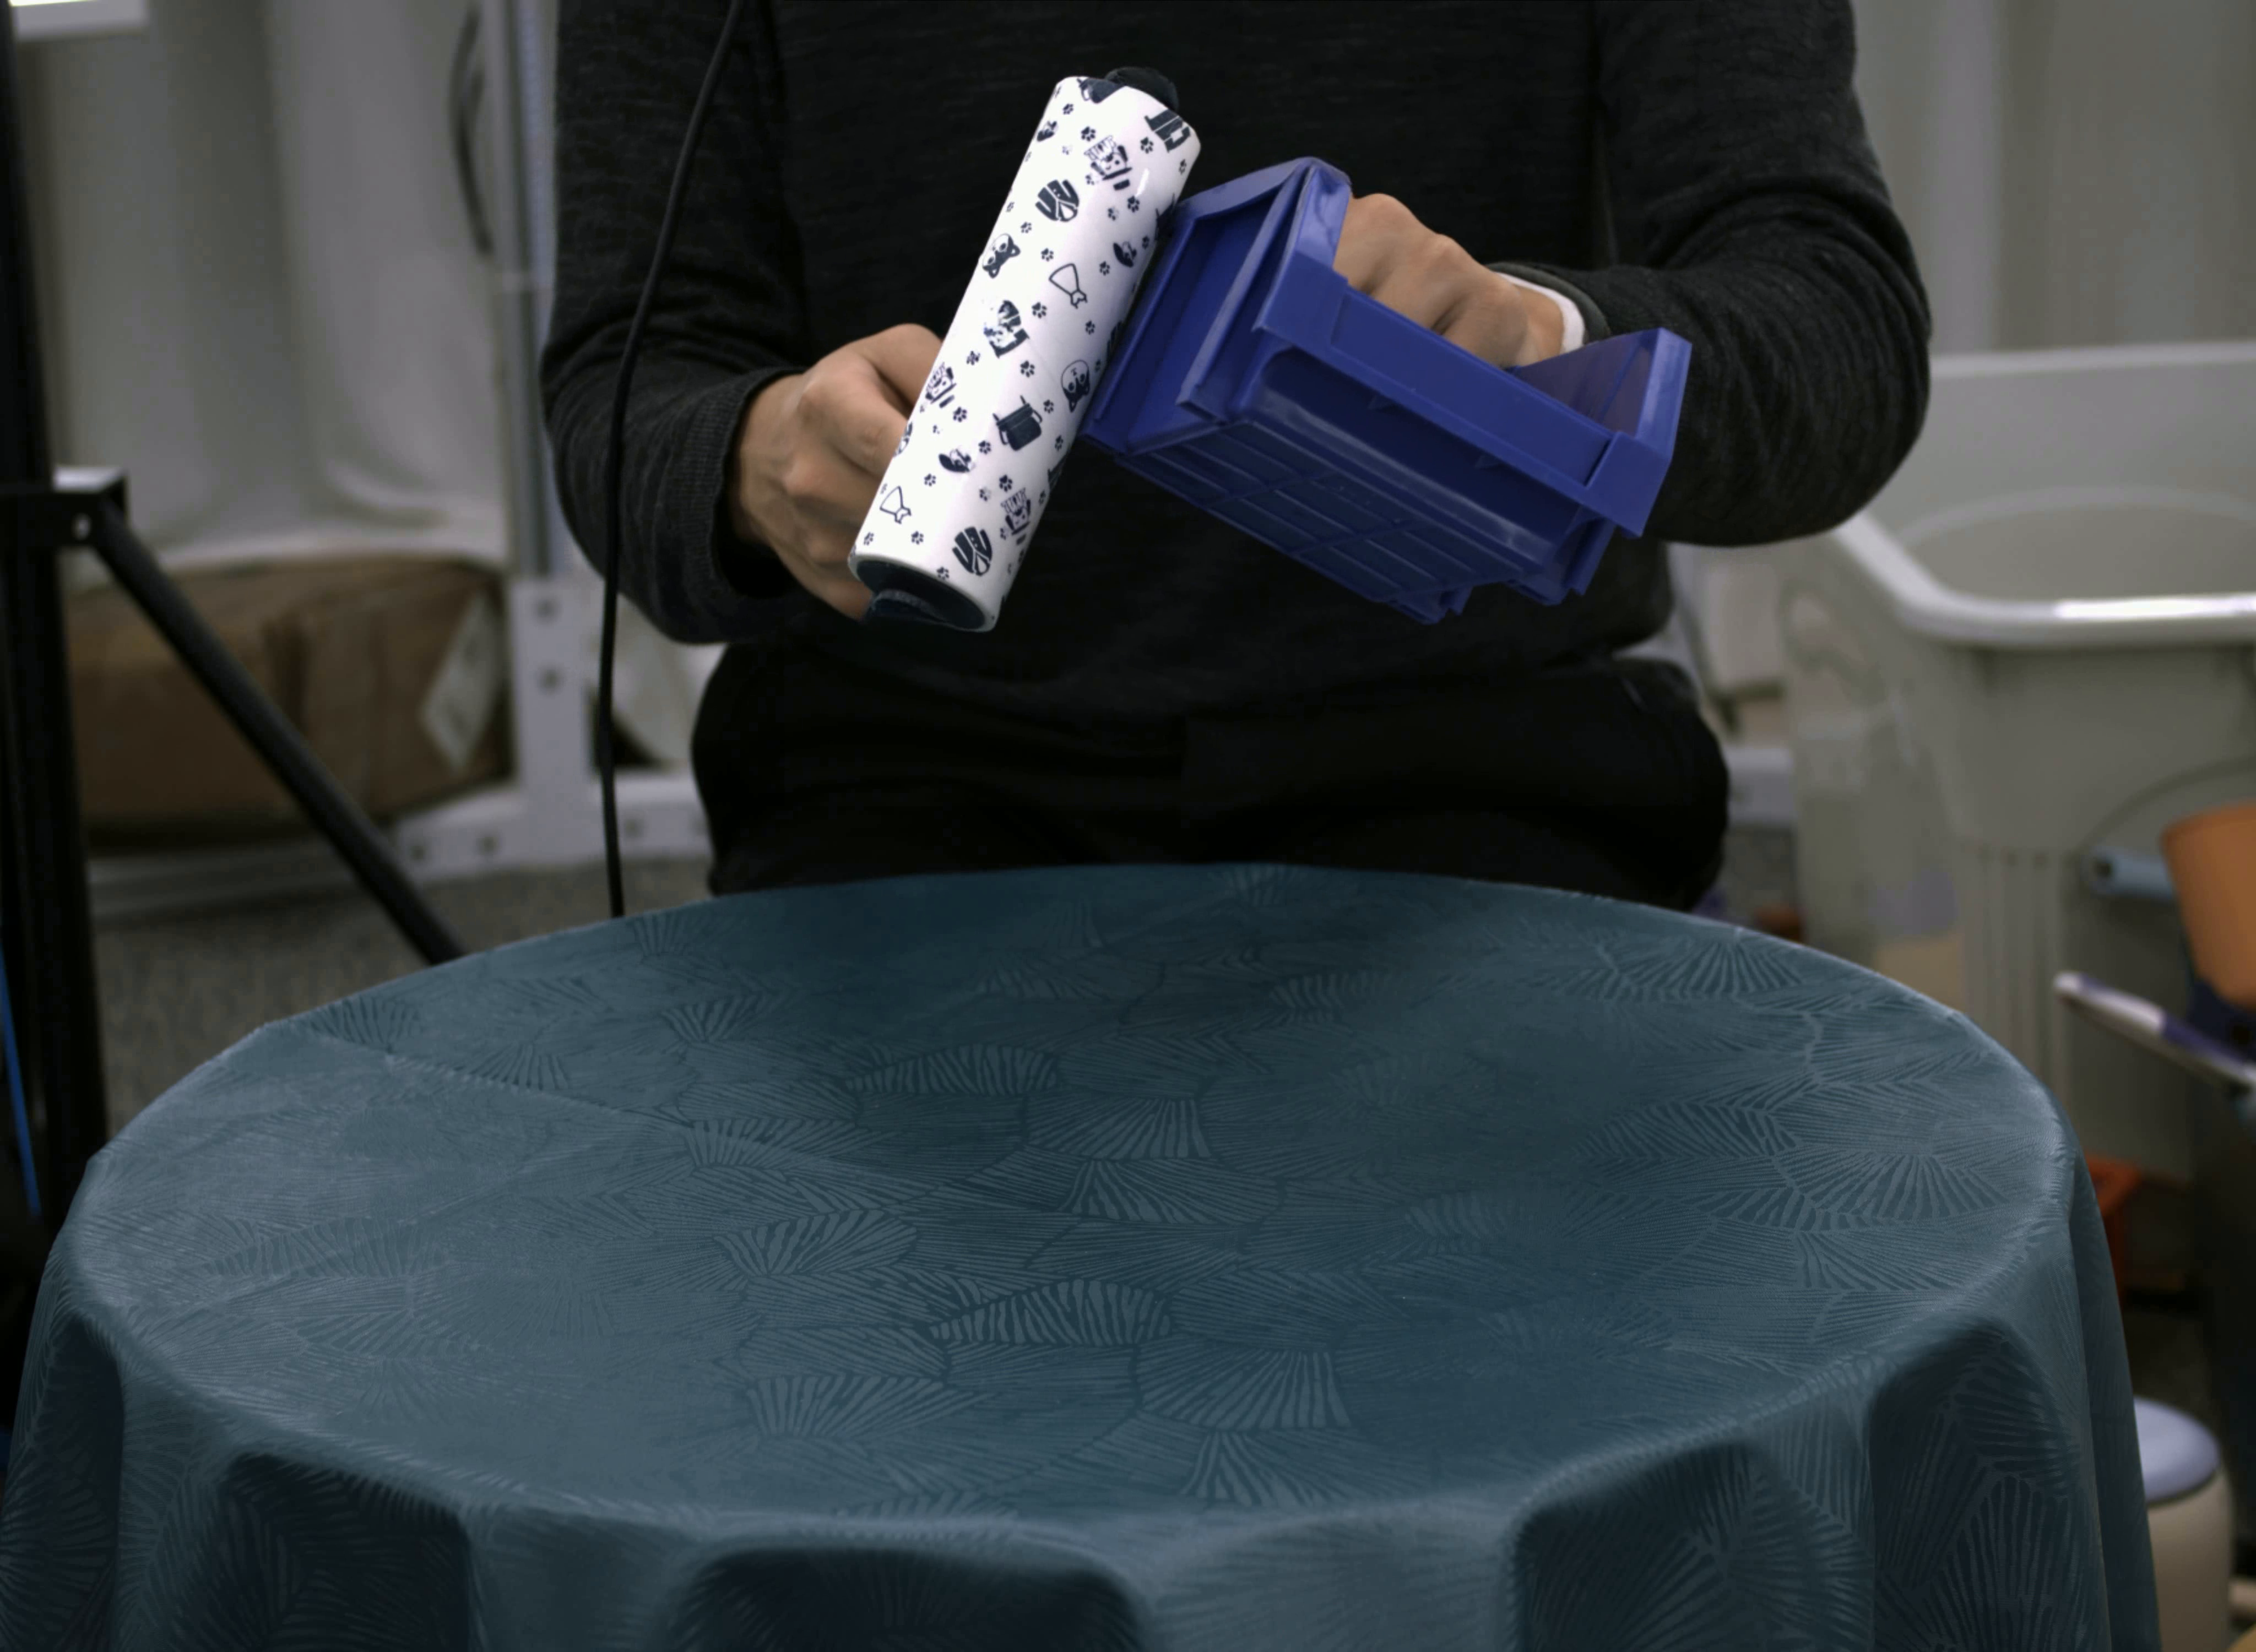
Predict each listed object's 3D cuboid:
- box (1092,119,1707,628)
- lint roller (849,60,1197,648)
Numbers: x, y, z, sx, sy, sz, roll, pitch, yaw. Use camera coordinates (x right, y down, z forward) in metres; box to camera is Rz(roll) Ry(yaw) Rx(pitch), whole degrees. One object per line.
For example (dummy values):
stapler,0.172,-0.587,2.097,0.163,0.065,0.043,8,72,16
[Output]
box,0.077,-0.123,1.486,0.123,0.082,0.181,28,-11,-12
lint roller,-0.054,-0.120,1.643,0.050,0.177,0.249,25,-15,-9
